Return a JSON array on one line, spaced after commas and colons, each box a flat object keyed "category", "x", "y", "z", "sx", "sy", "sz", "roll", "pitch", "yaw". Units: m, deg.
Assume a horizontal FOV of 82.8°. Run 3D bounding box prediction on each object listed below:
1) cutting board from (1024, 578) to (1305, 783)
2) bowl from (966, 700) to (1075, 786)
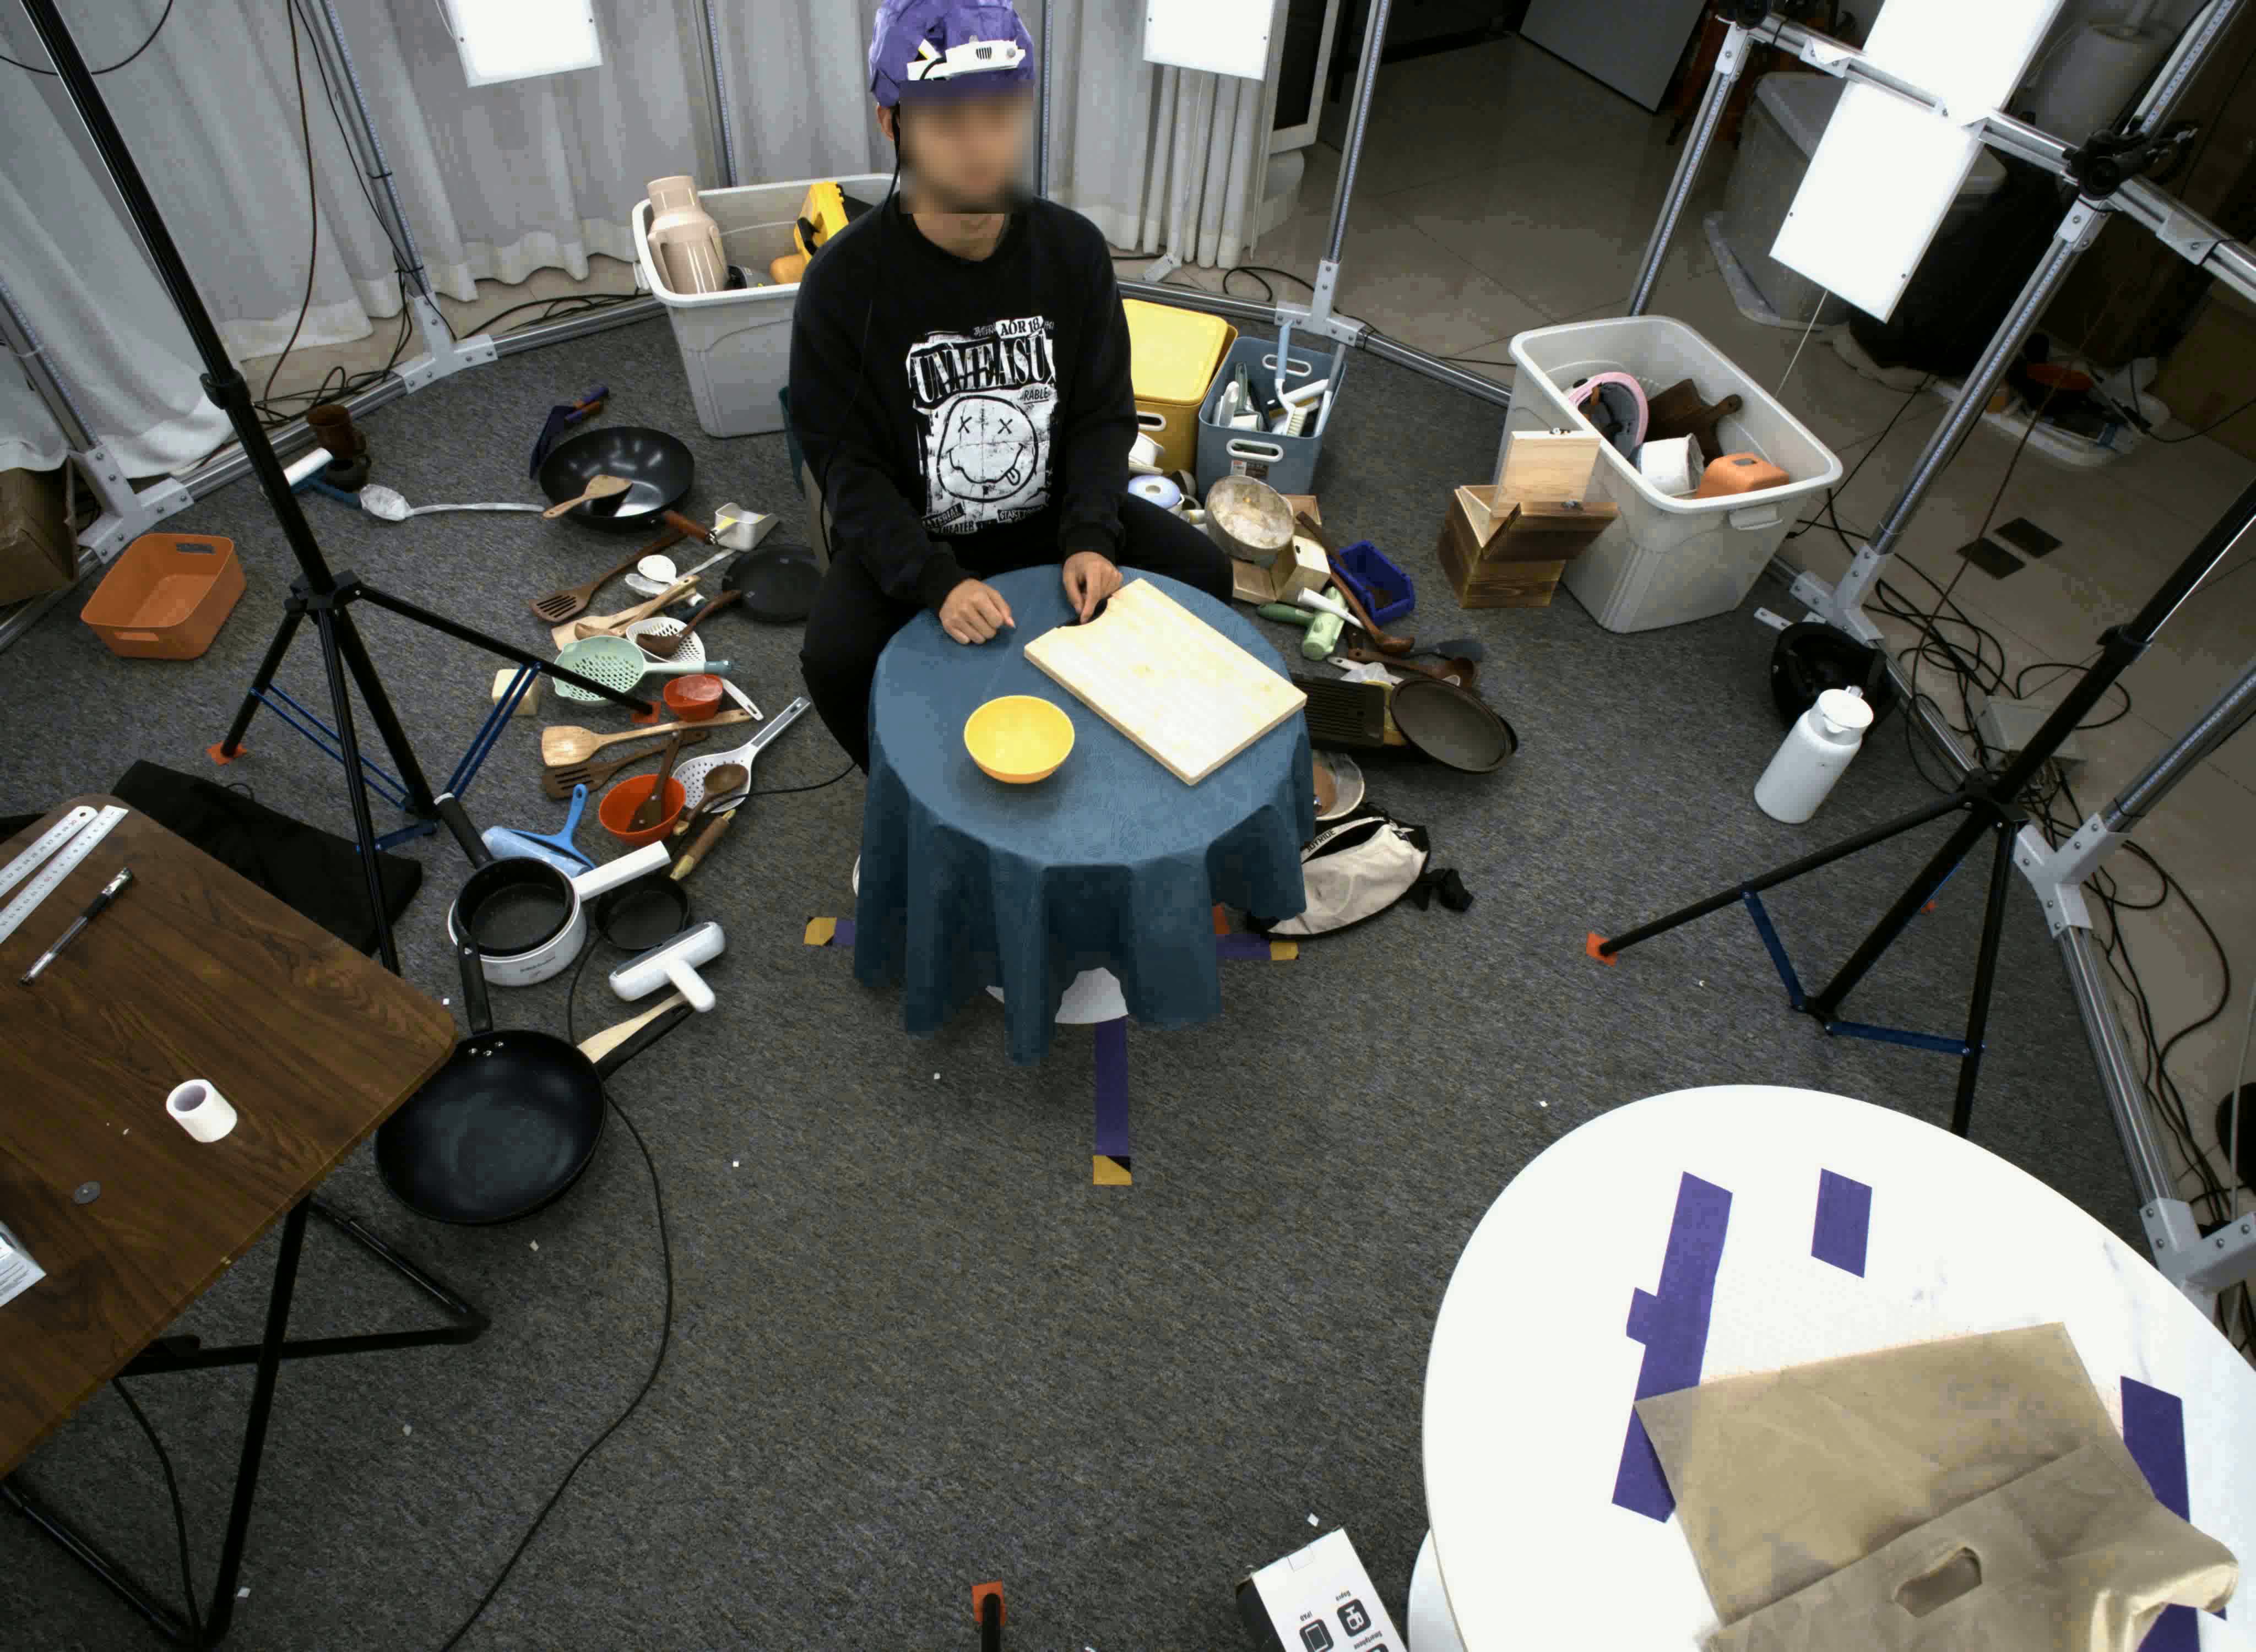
[{"category": "cutting board", "x": 0.050, "y": -0.220, "z": 1.869, "sx": 0.253, "sy": 0.023, "sz": 0.354, "roll": -35, "pitch": 59, "yaw": -30}, {"category": "bowl", "x": -0.146, "y": -0.101, "z": 1.725, "sx": 0.145, "sy": 0.058, "sz": 0.149, "roll": 3, "pitch": 47, "yaw": -3}]
